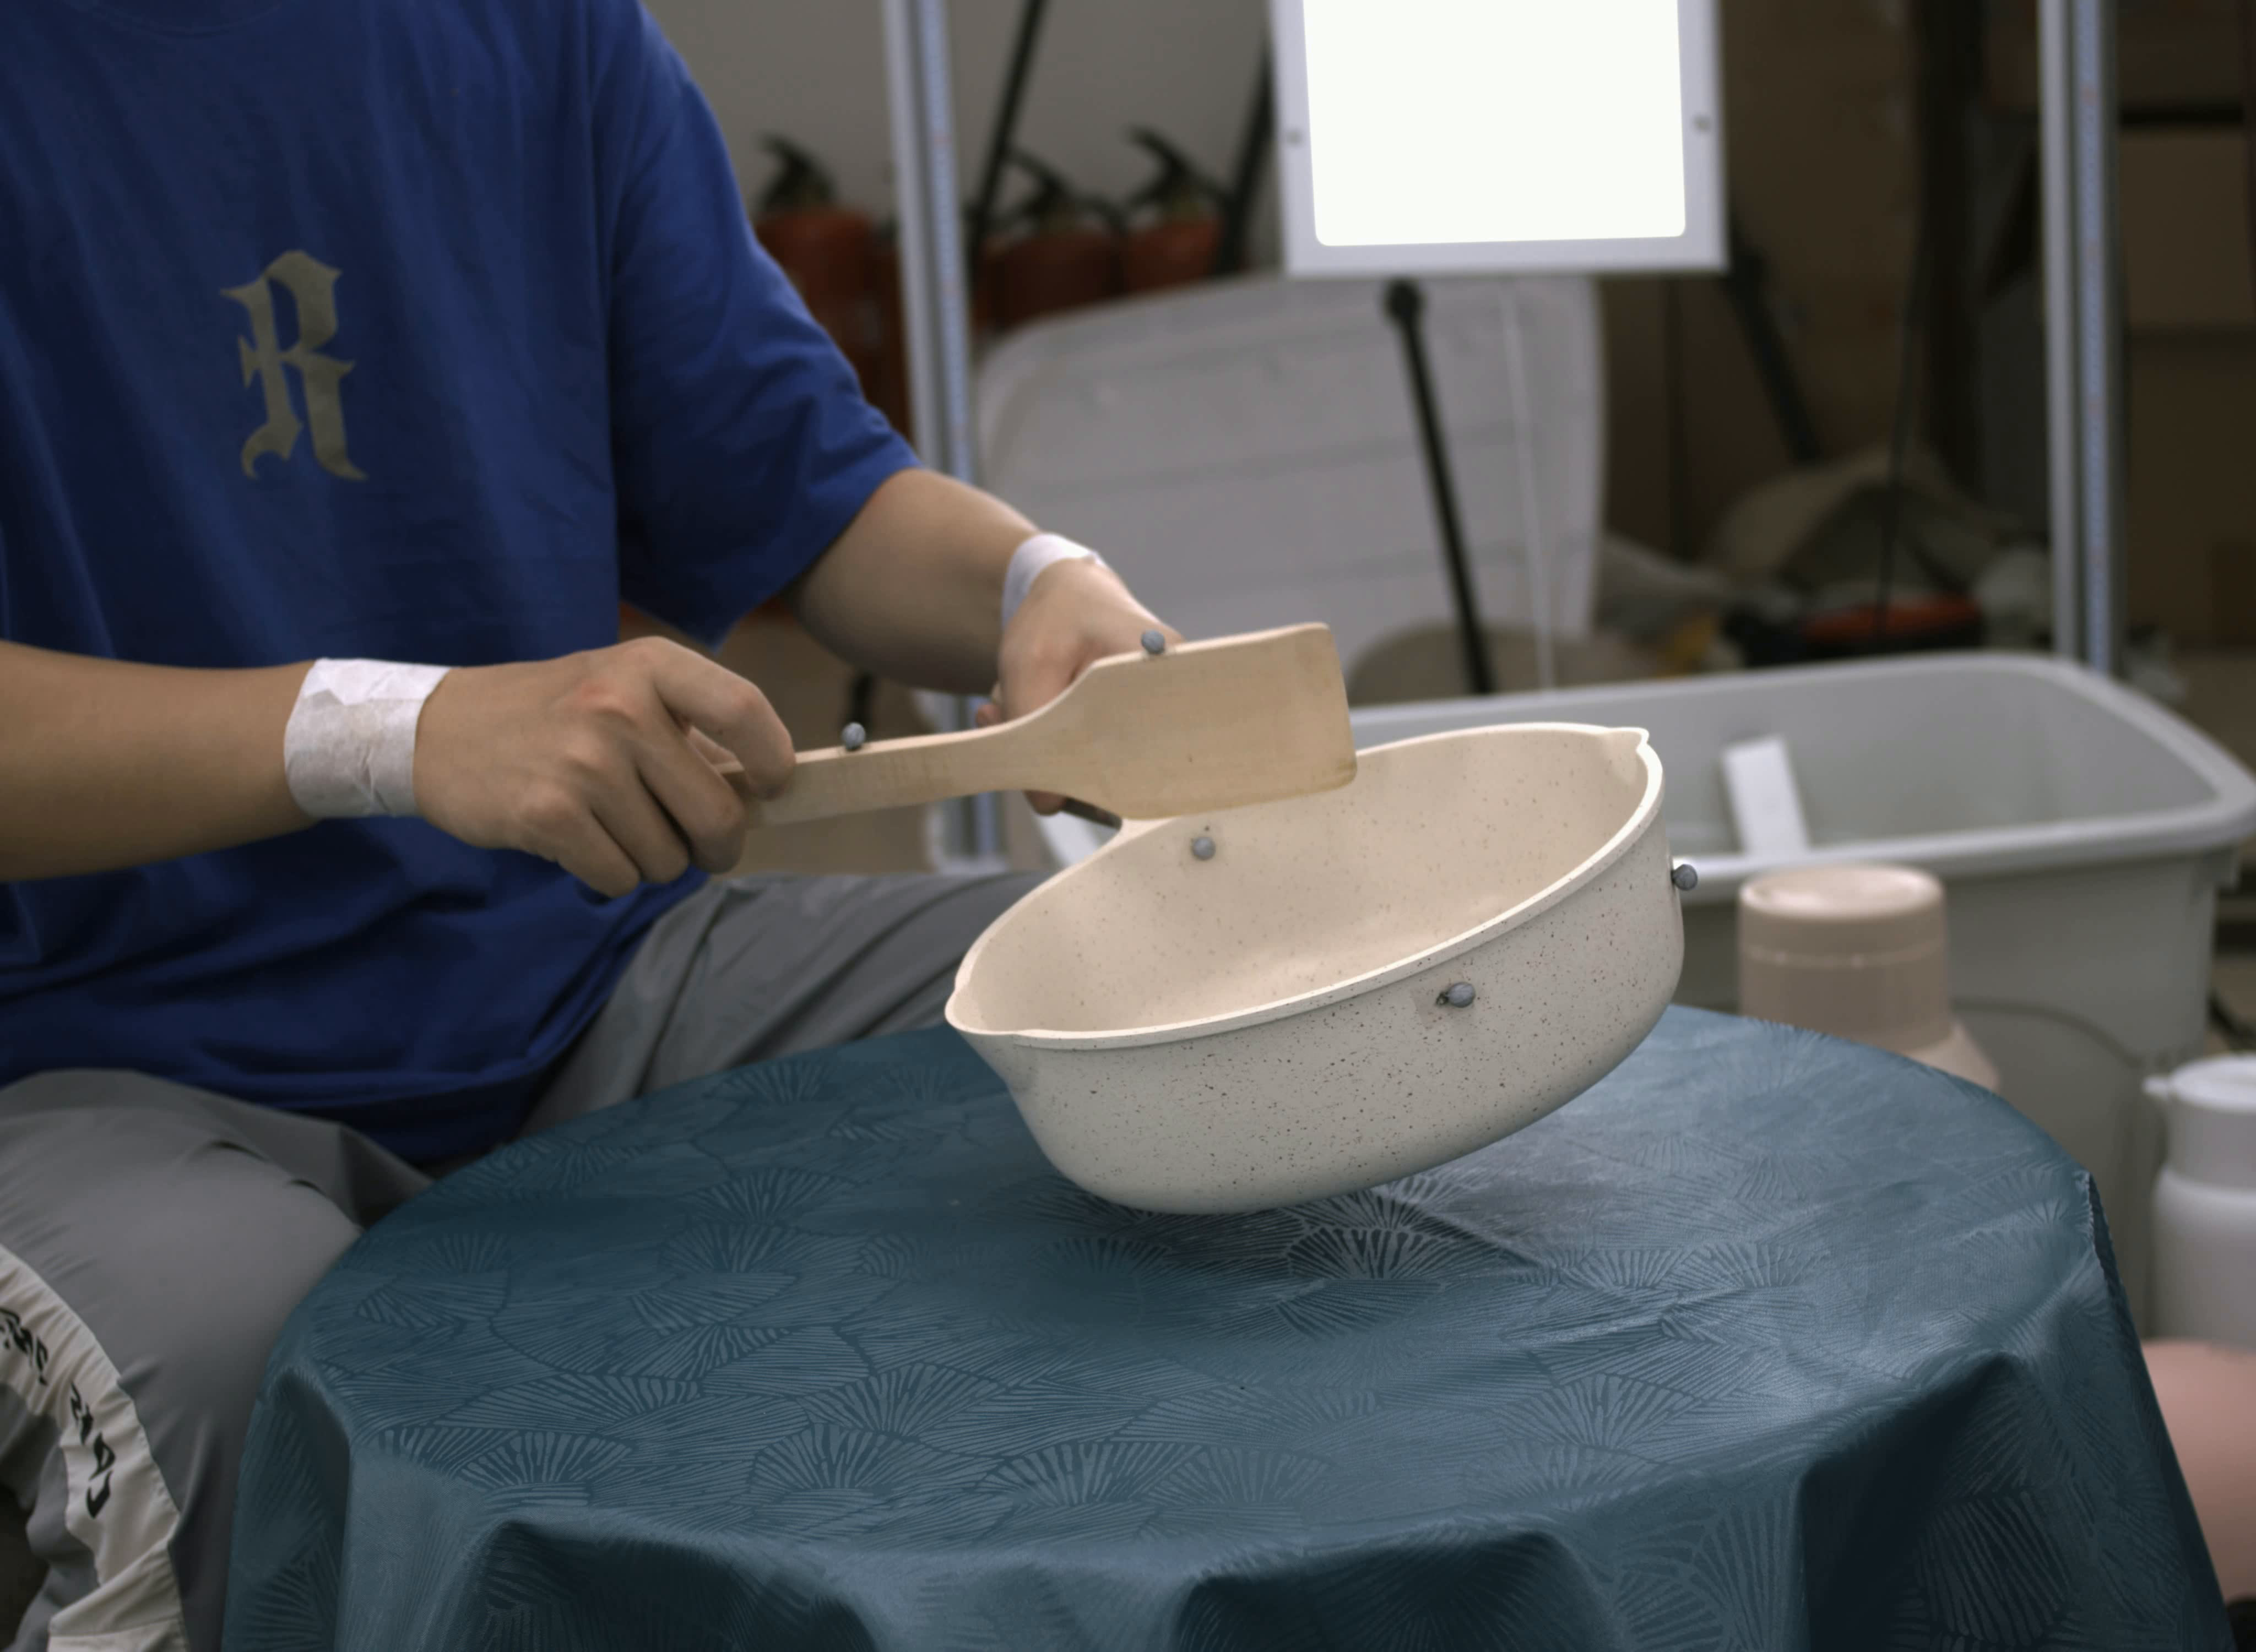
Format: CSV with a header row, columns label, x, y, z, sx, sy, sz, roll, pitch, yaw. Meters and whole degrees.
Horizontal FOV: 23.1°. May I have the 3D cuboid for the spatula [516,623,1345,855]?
label,x,y,z,sx,sy,sz,roll,pitch,yaw
spatula,-0.072,-0.022,1.923,0.294,0.072,0.010,-8,37,9

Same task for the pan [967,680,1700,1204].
label,x,y,z,sx,sy,sz,roll,pitch,yaw
pan,0.045,0.025,1.949,0.260,0.102,0.440,-25,17,-13
